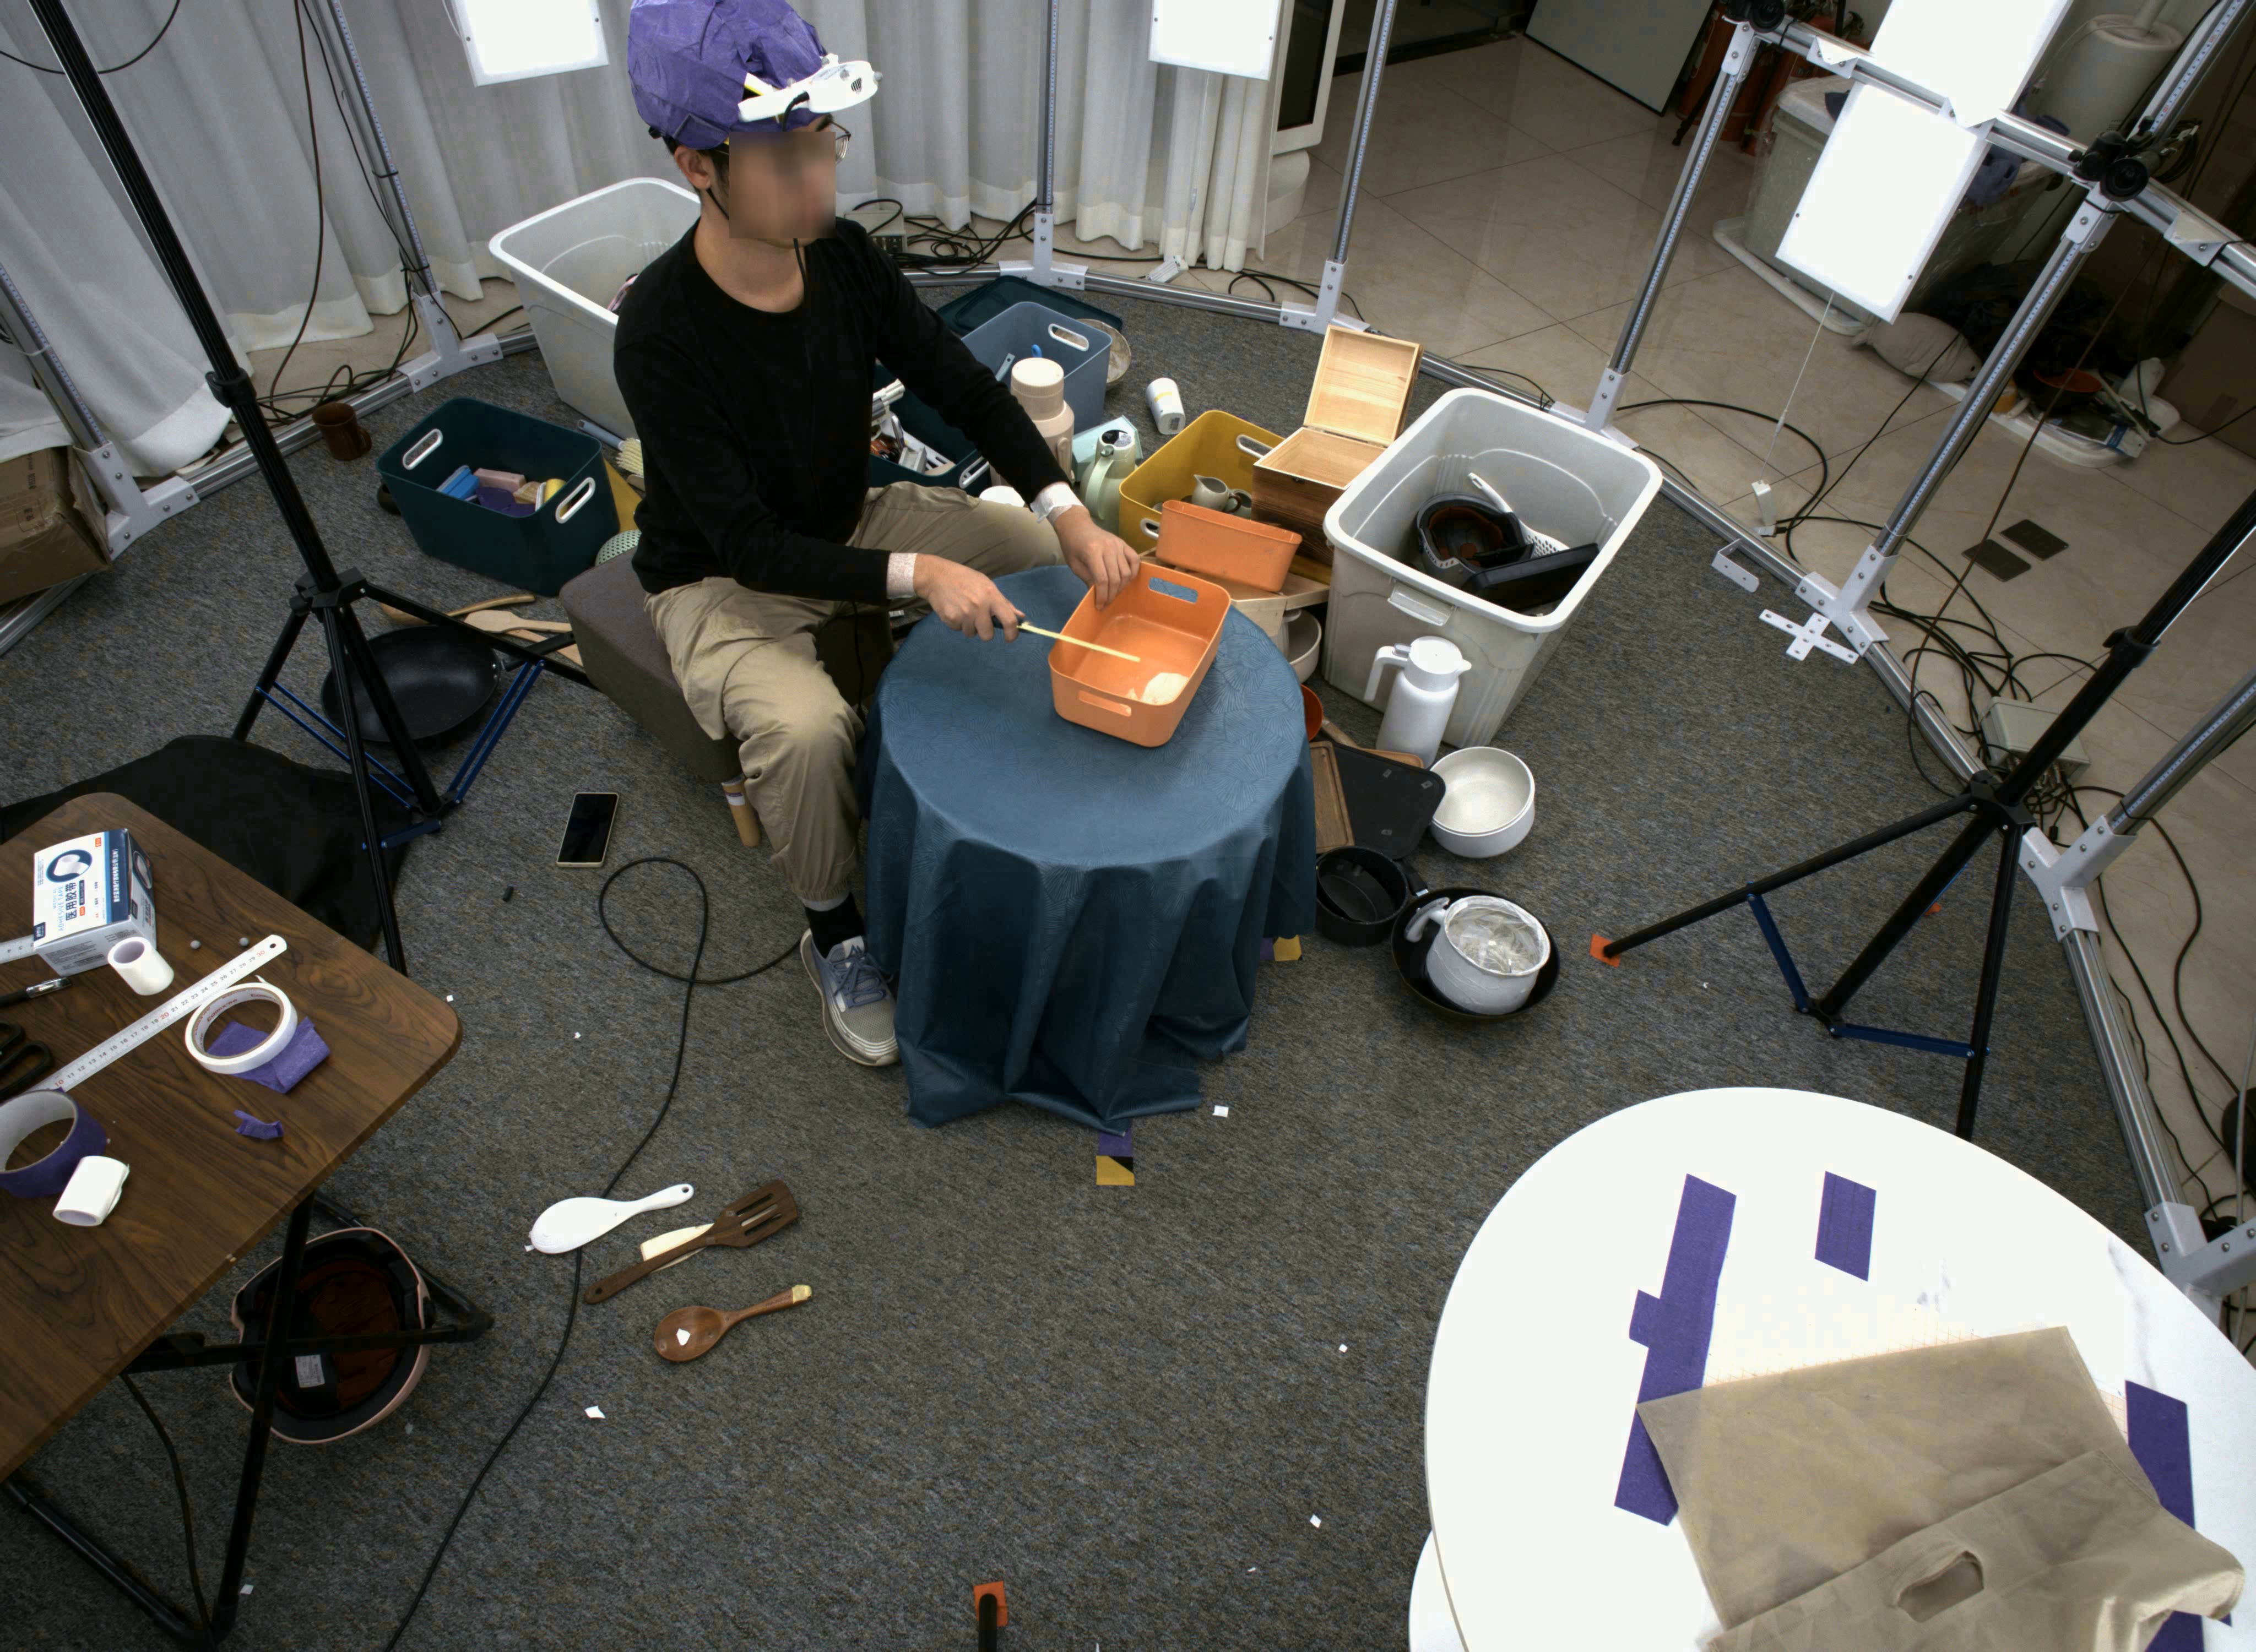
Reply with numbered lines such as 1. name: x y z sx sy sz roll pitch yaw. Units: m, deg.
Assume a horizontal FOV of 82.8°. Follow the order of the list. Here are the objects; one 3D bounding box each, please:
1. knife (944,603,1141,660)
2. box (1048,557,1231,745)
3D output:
1. knife: -0.118 -0.259 1.732 0.291 0.027 0.081 16 8 13
2. box: 0.015 -0.246 1.817 0.200 0.100 0.278 20 51 12
